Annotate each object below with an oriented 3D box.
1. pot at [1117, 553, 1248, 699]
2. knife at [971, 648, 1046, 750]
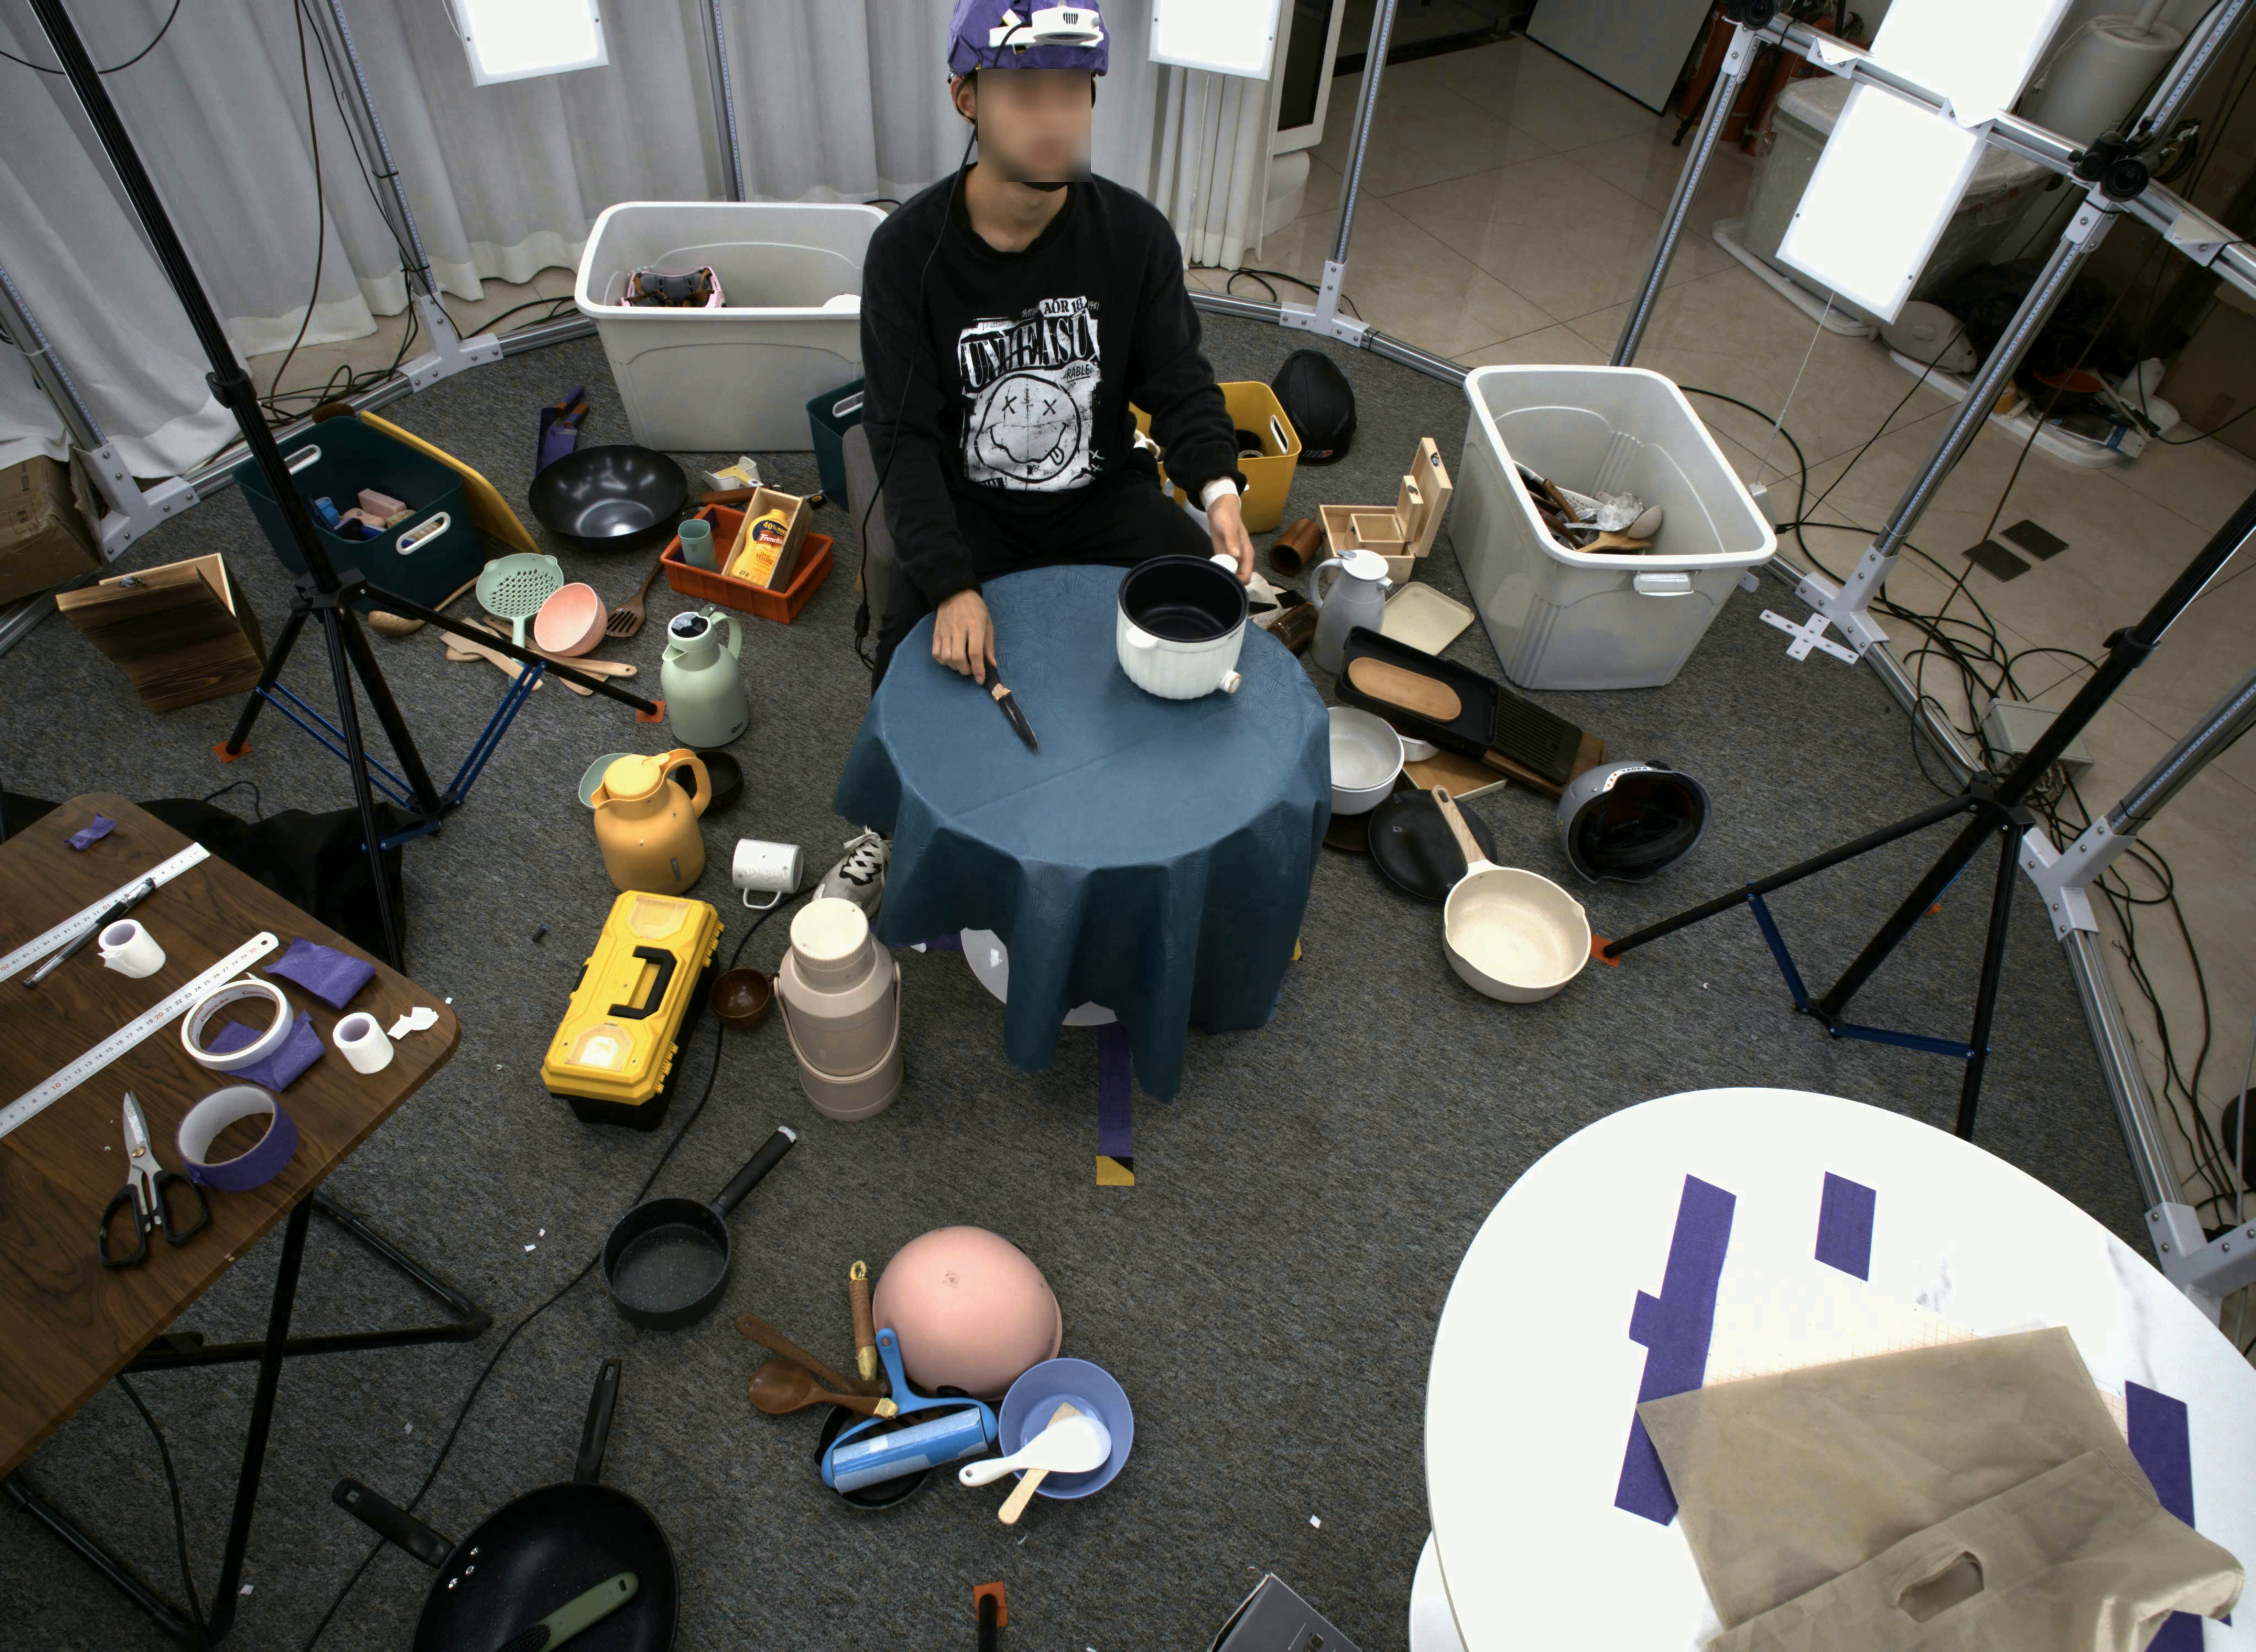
[{"bbox_3d":[0.079,-0.274,1.822,0.192,0.139,0.243,28,55,23],"label":"pot"},{"bbox_3d":[-0.170,-0.178,1.802,0.026,0.017,0.230,-30,54,-5],"label":"knife"}]
